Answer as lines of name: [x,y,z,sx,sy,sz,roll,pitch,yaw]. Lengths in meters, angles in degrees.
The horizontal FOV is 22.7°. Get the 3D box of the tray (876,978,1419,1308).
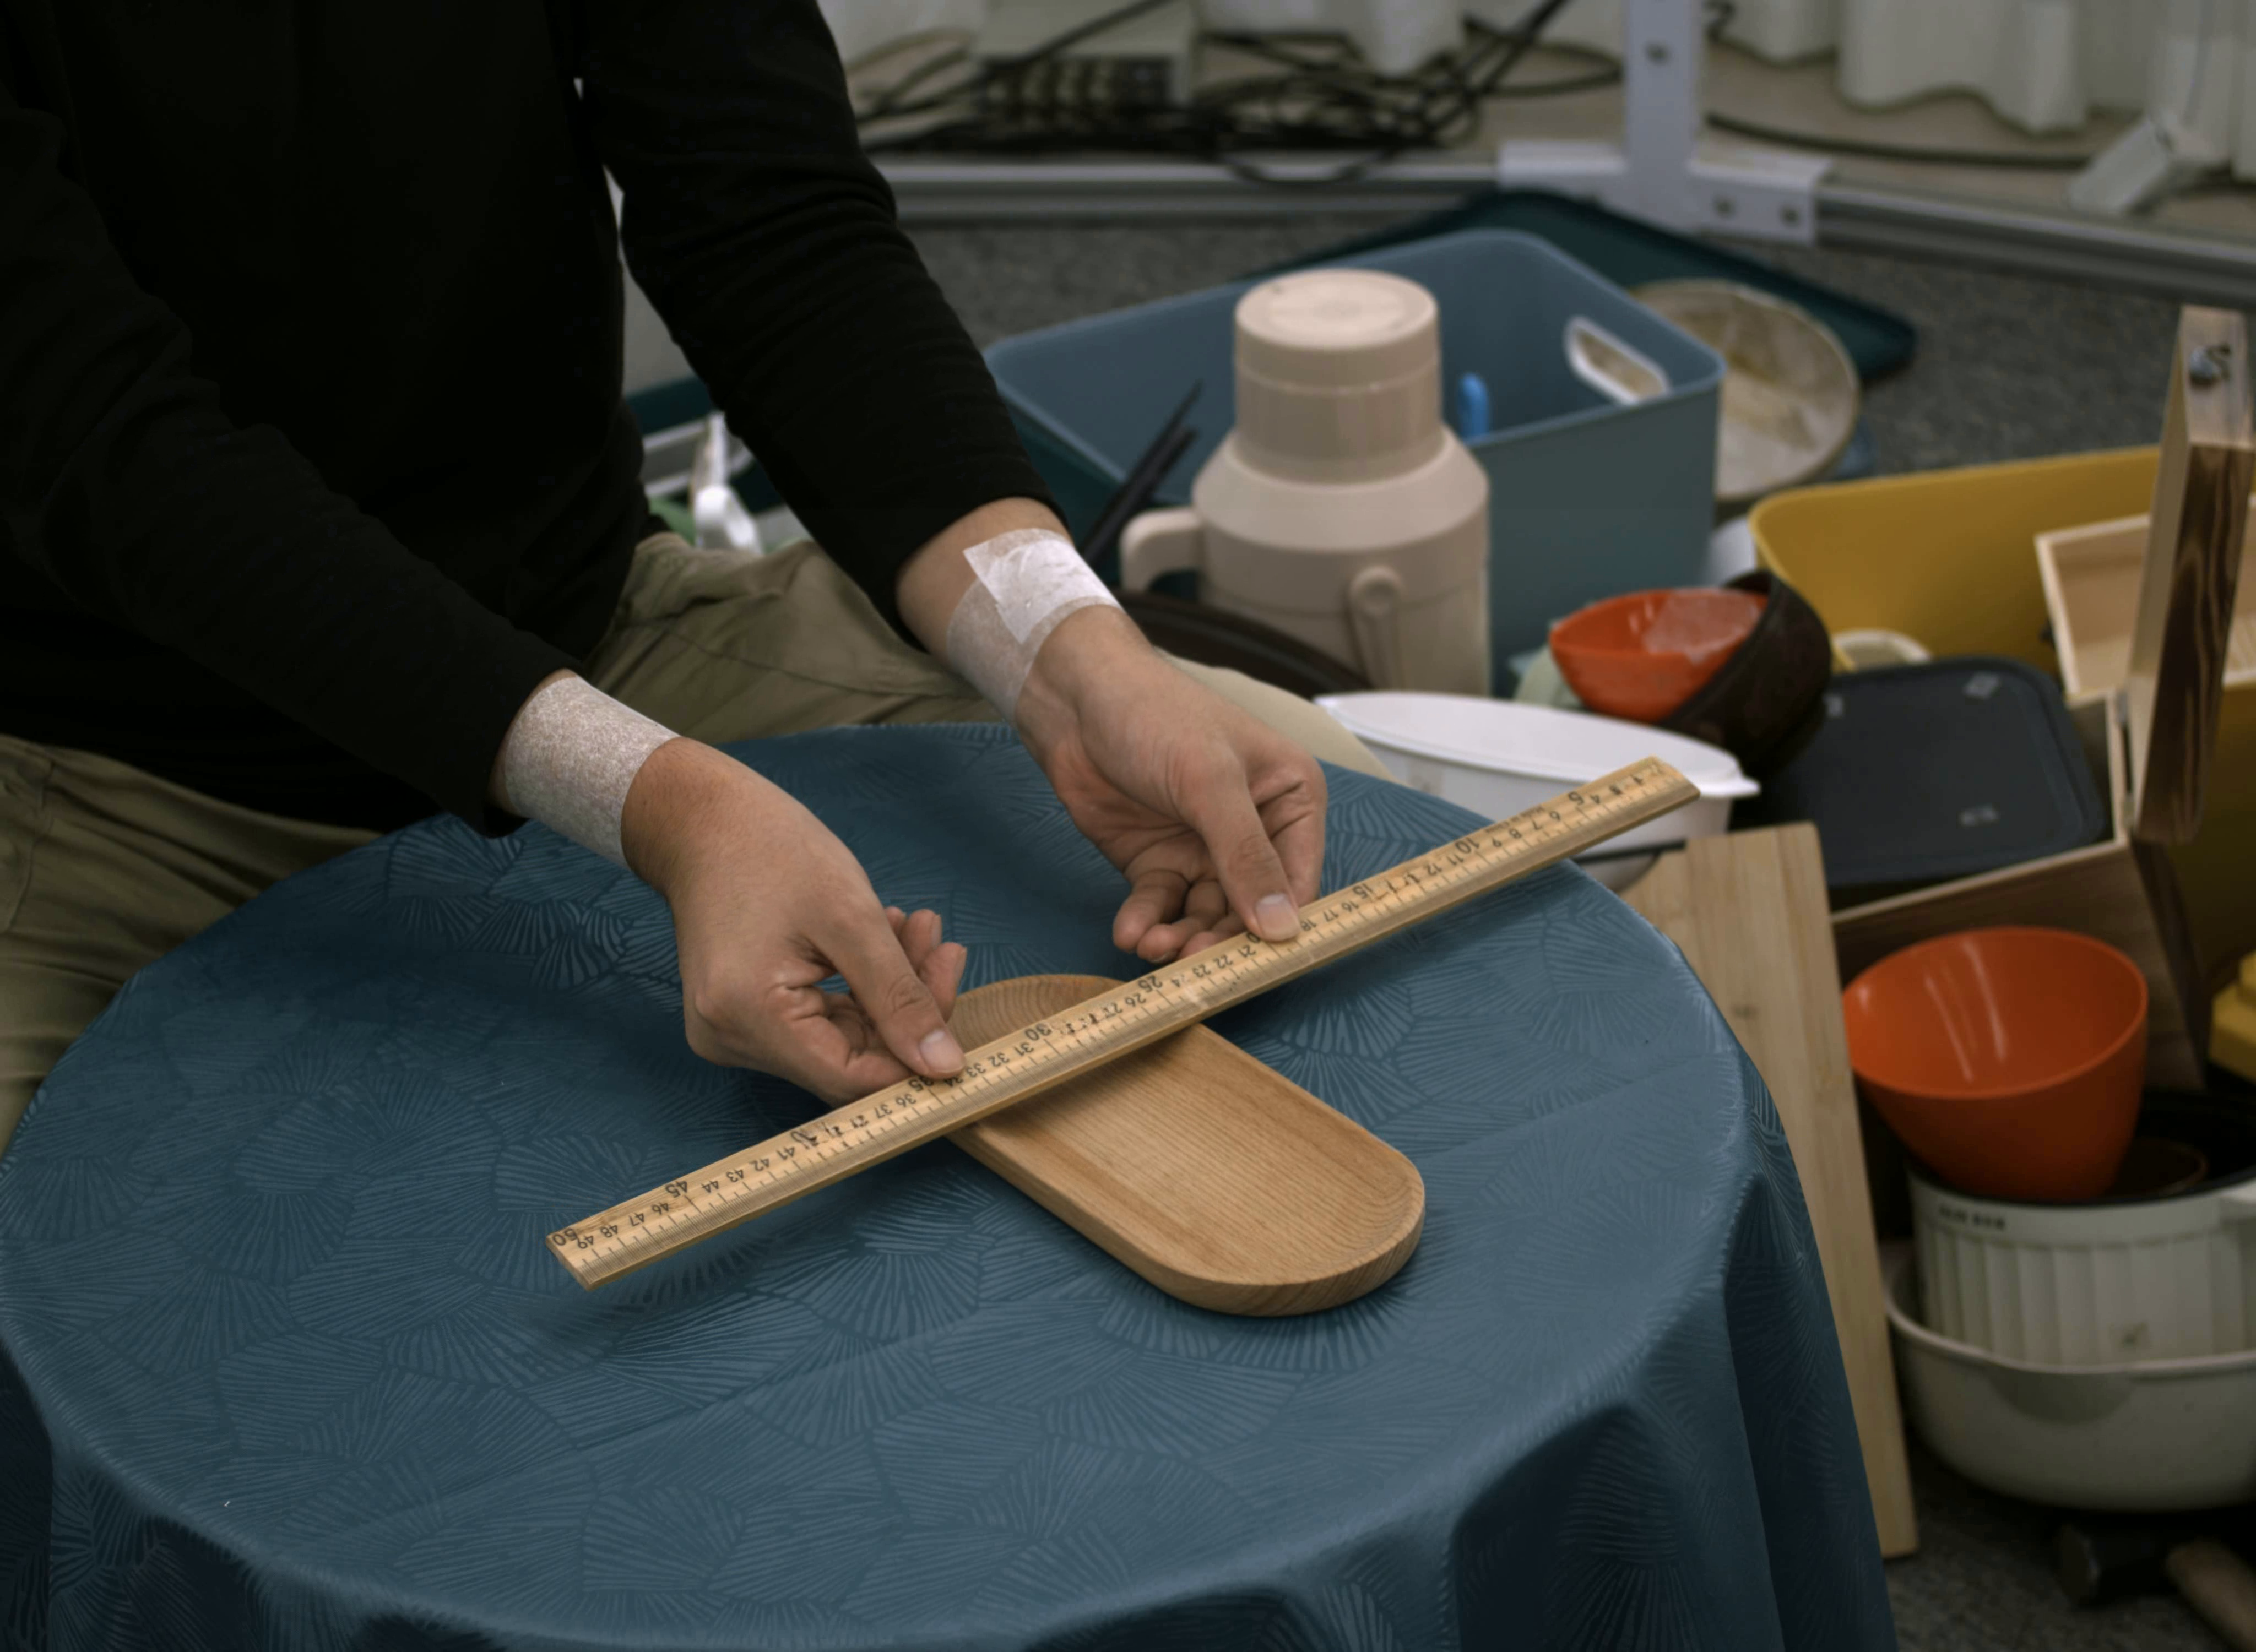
tray: [0.005,0.104,1.876,0.102,0.020,0.231,-21,31,-32]

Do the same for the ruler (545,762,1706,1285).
ruler: [0.012,0.061,1.930,0.505,0.006,0.027,-22,49,-35]
